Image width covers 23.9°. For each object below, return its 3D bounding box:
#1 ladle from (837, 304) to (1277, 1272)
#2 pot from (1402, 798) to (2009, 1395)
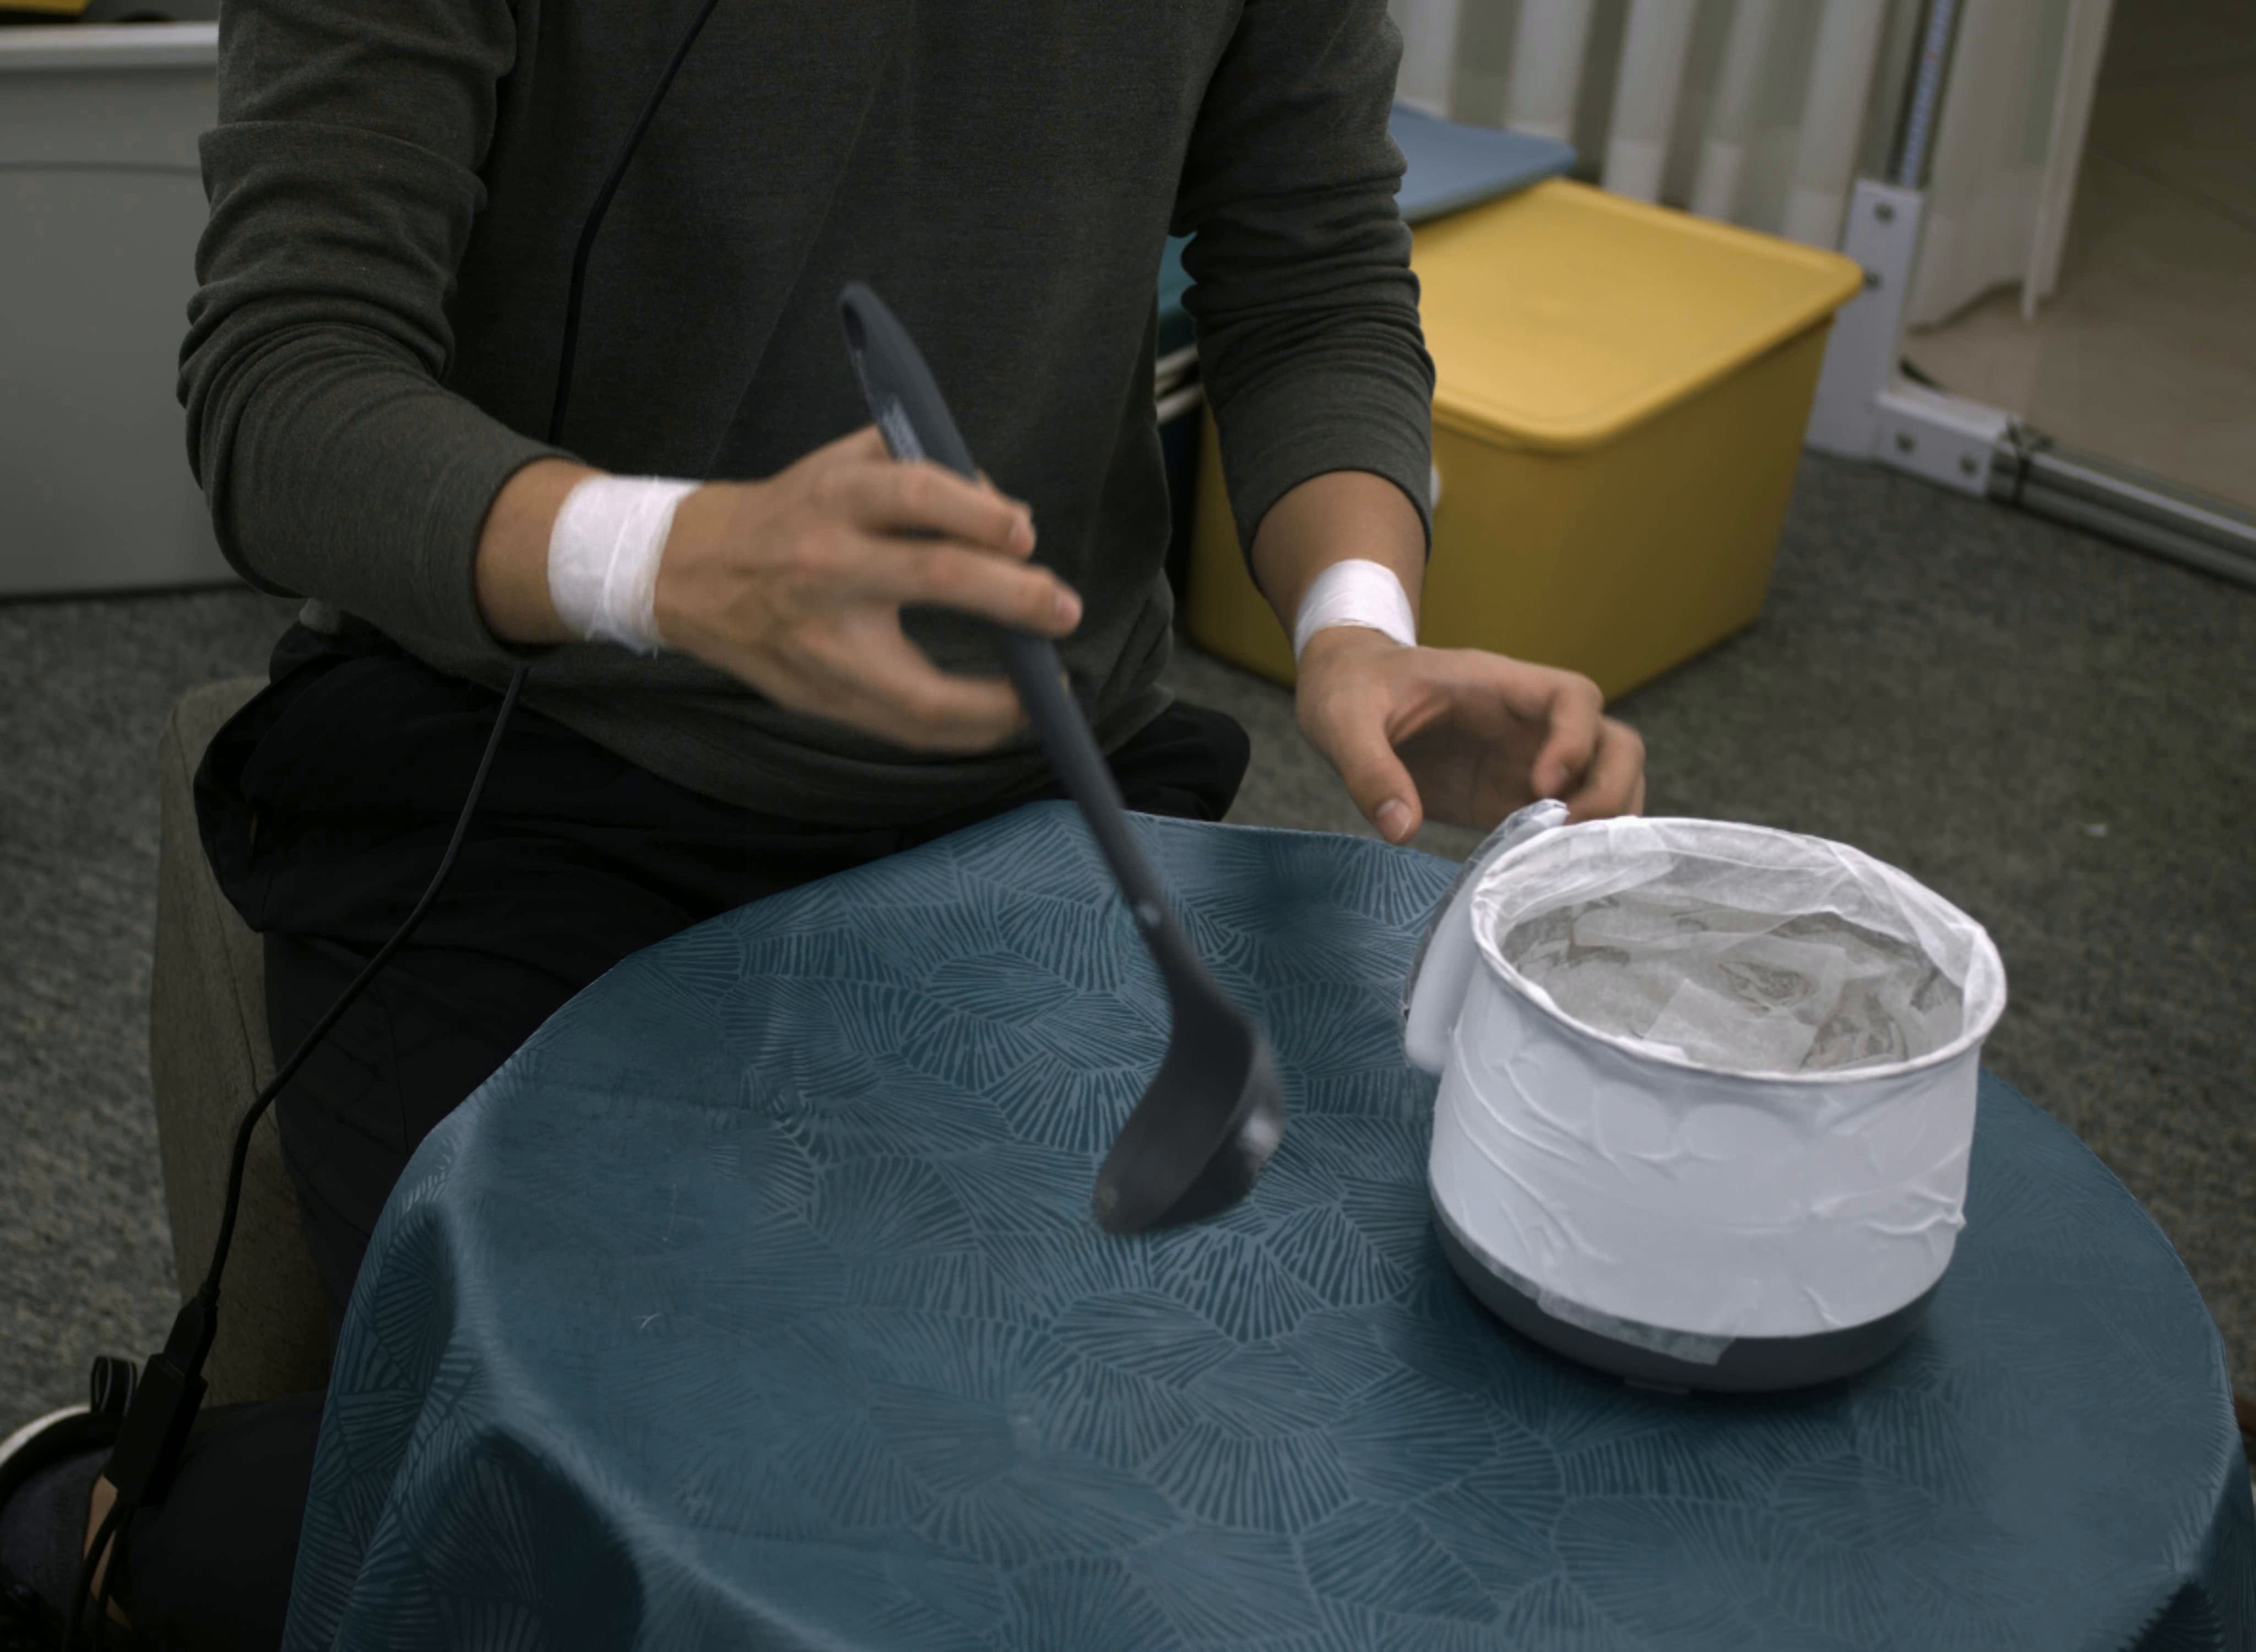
[{"bbox_3d":[-0.037,-0.015,1.614,0.063,0.086,0.315,-16,77,-42],"label":"ladle"},{"bbox_3d":[0.175,0.082,1.777,0.177,0.136,0.236,-13,32,-34],"label":"pot"}]
